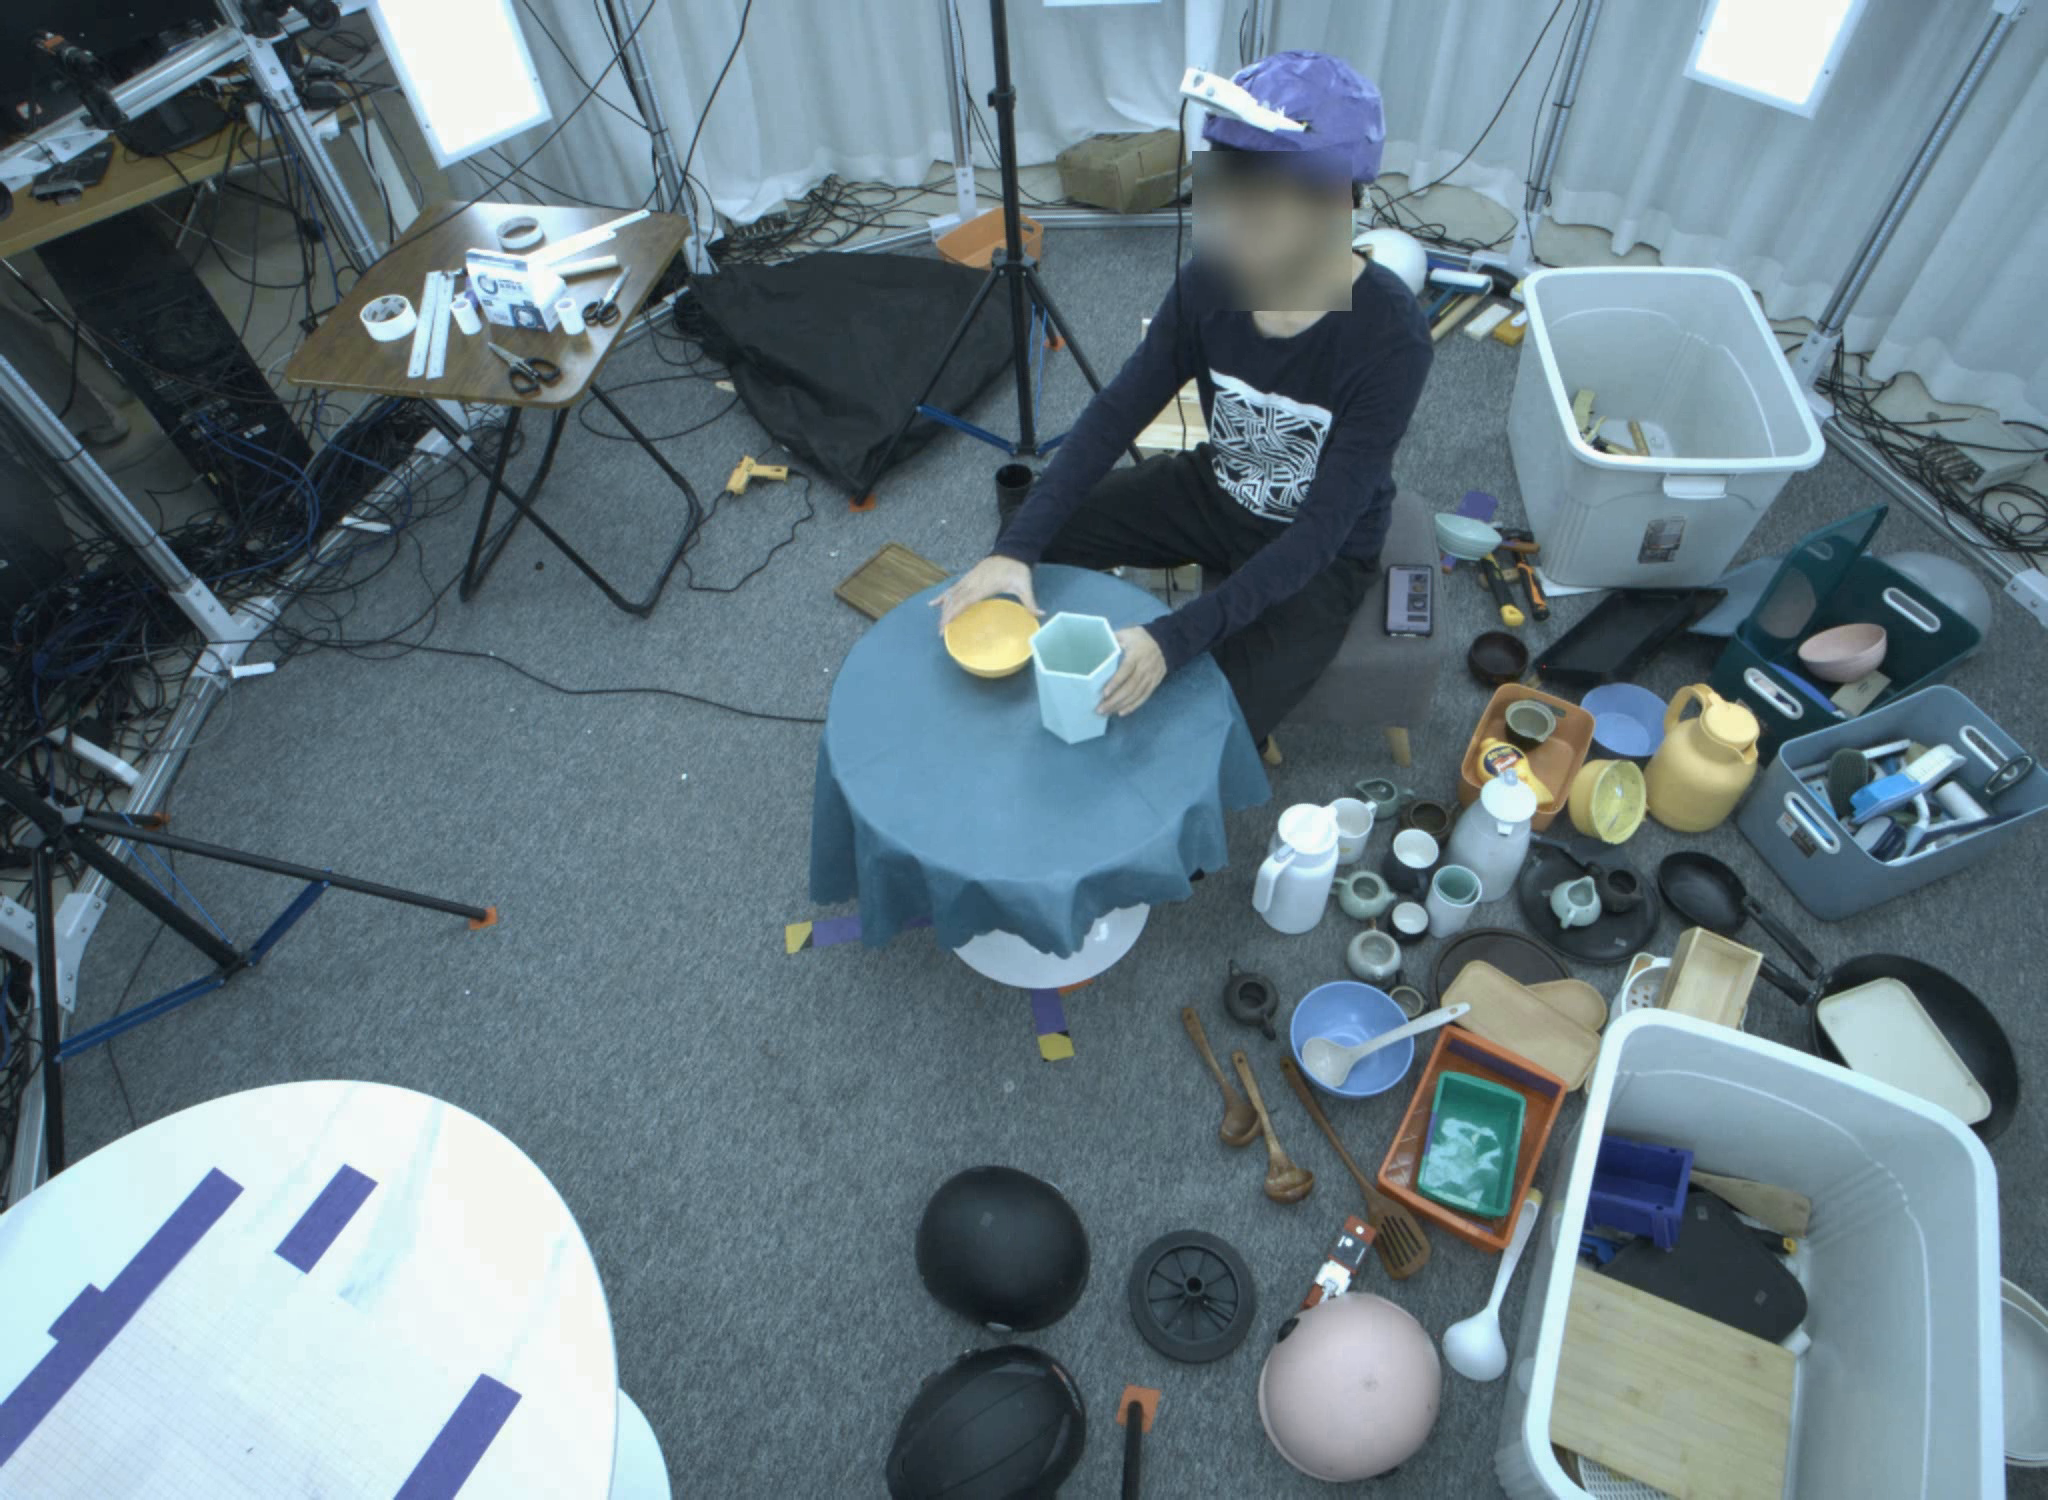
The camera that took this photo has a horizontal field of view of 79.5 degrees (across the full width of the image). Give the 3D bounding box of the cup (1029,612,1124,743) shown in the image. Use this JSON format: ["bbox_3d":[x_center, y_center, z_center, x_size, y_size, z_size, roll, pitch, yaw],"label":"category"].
[{"bbox_3d":[0.073,-0.097,1.746,0.116,0.164,0.129,-18,57,-11],"label":"cup"}]

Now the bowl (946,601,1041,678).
[{"bbox_3d":[-0.047,-0.156,1.862,0.146,0.060,0.144,4,50,-3],"label":"bowl"}]
